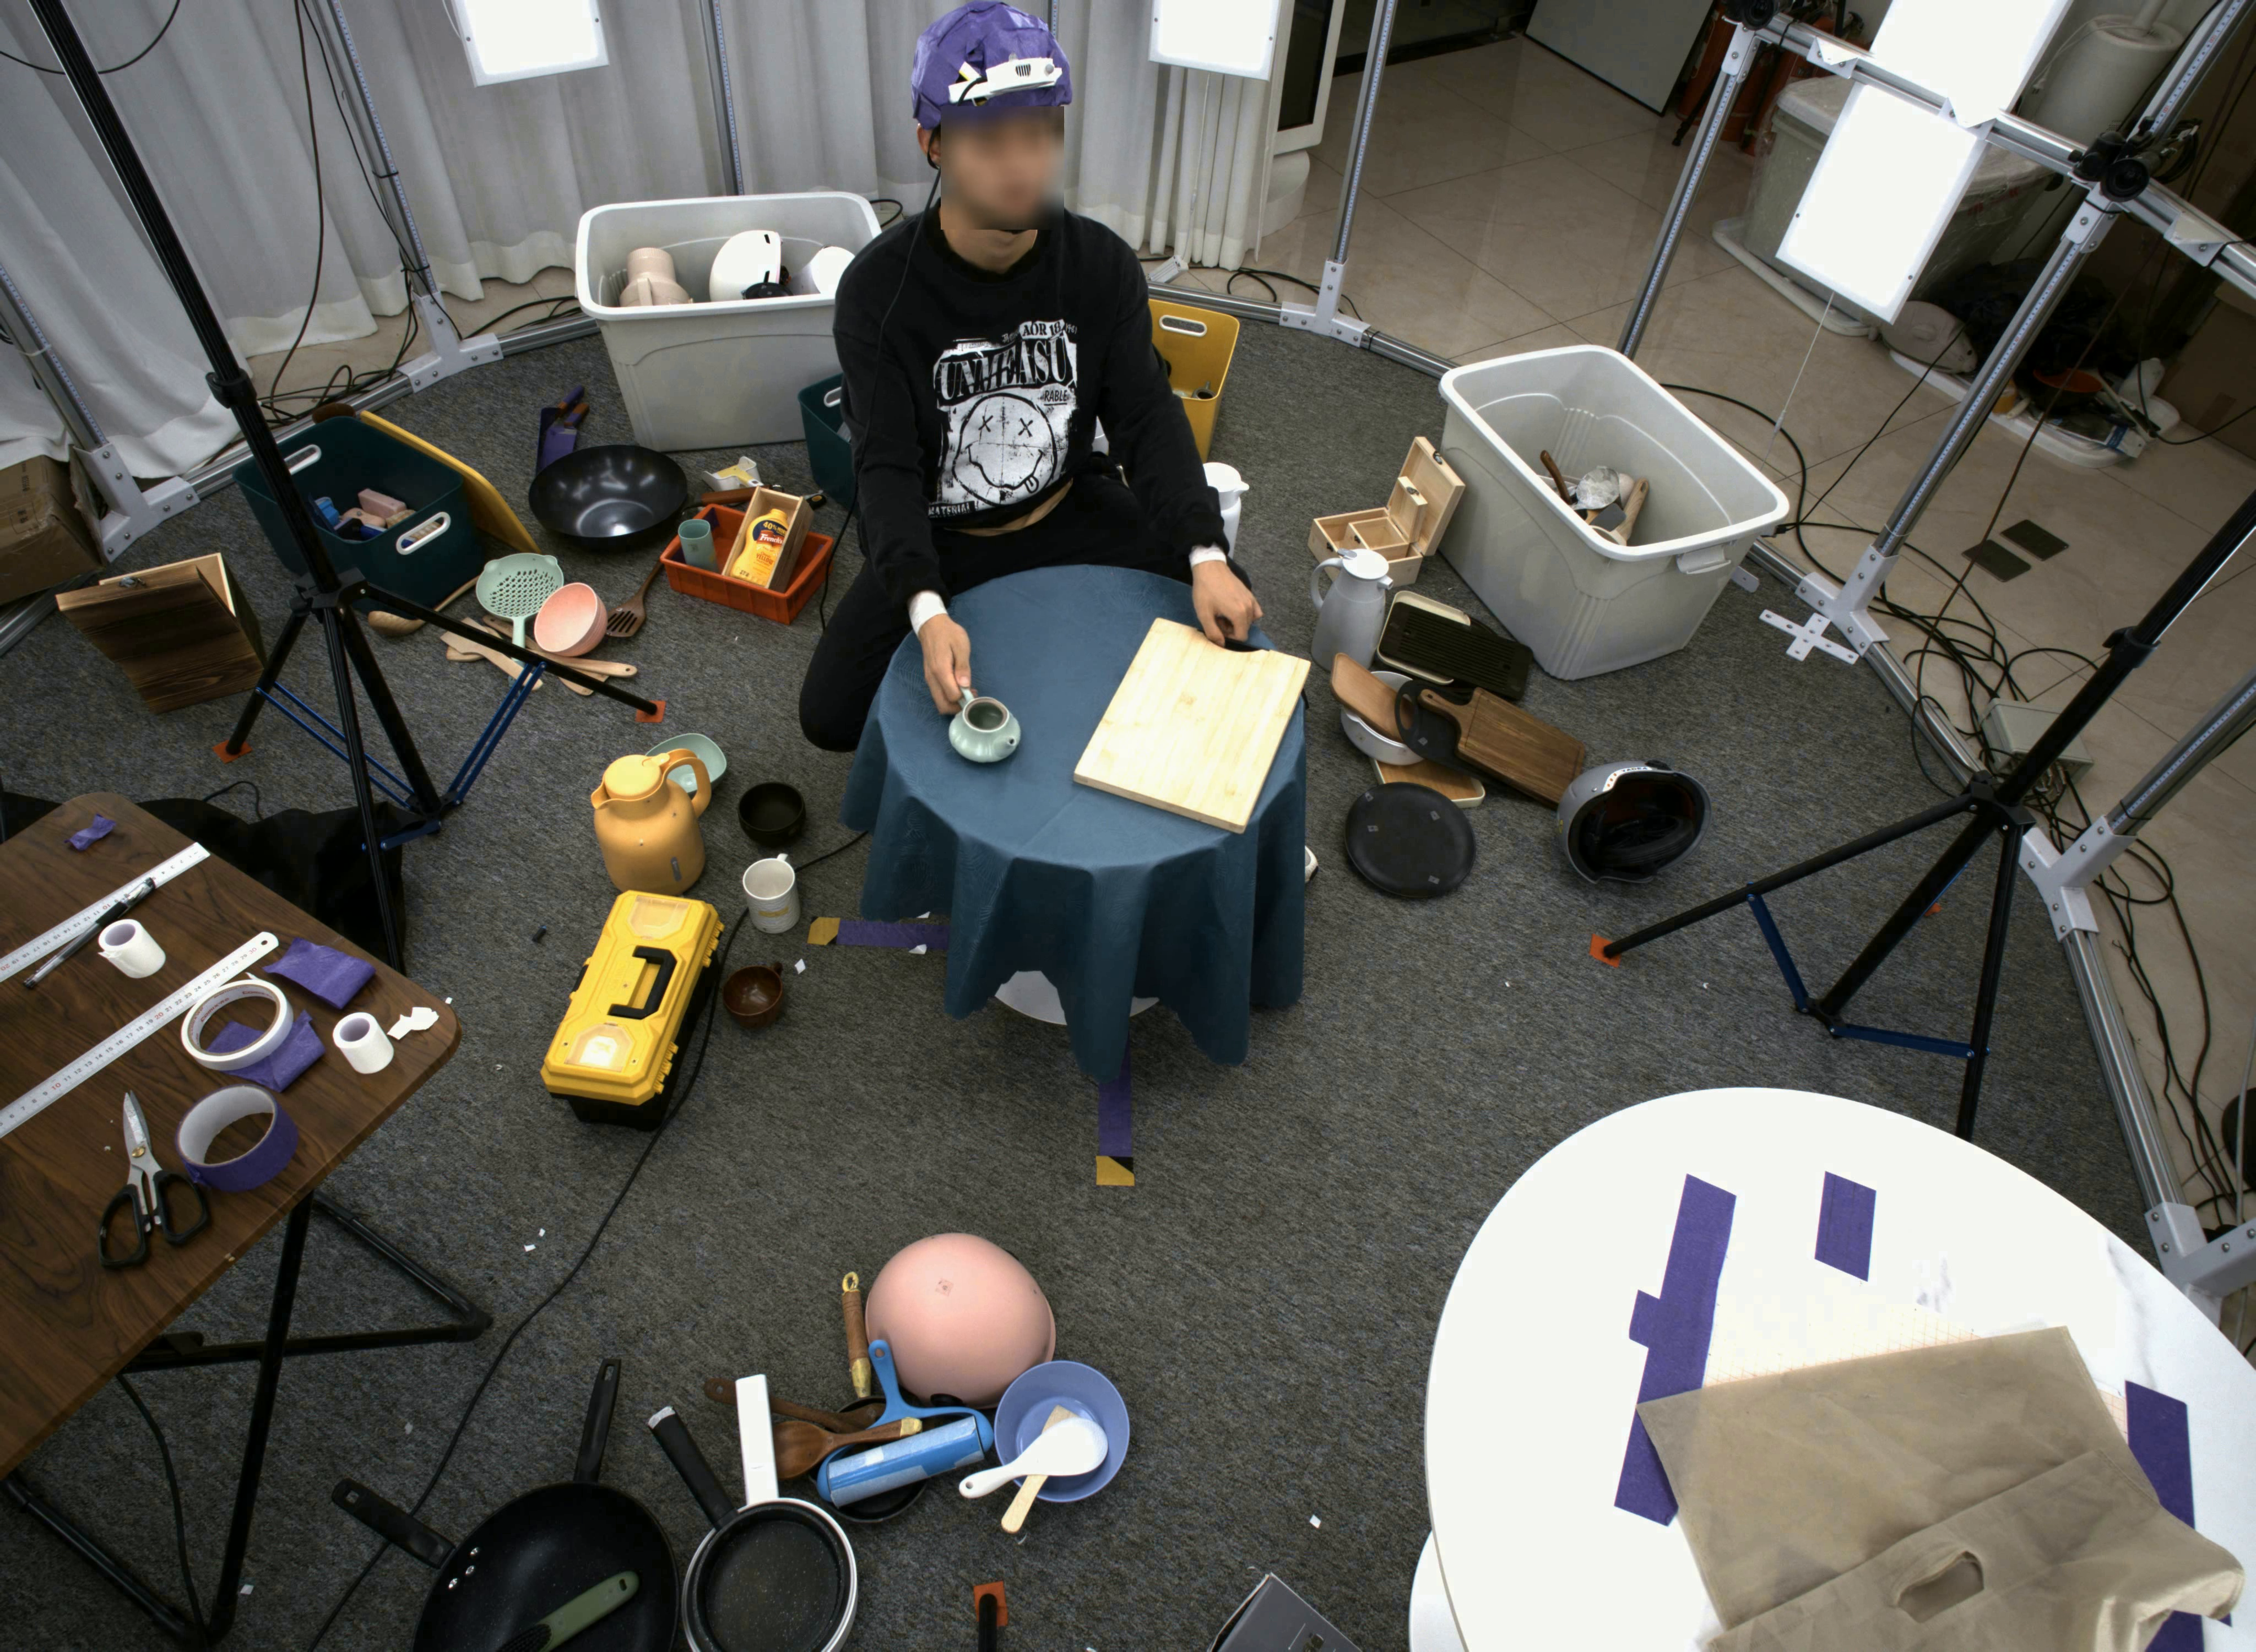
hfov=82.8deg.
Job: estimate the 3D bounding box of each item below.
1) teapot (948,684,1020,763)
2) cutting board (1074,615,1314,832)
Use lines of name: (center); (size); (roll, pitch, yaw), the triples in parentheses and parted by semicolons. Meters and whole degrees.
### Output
teapot: (-0.196, -0.136, 1.733); (0.097, 0.060, 0.139); (-33, 63, -26)
cutting board: (0.099, -0.153, 1.798); (0.251, 0.023, 0.356); (17, 50, 10)
